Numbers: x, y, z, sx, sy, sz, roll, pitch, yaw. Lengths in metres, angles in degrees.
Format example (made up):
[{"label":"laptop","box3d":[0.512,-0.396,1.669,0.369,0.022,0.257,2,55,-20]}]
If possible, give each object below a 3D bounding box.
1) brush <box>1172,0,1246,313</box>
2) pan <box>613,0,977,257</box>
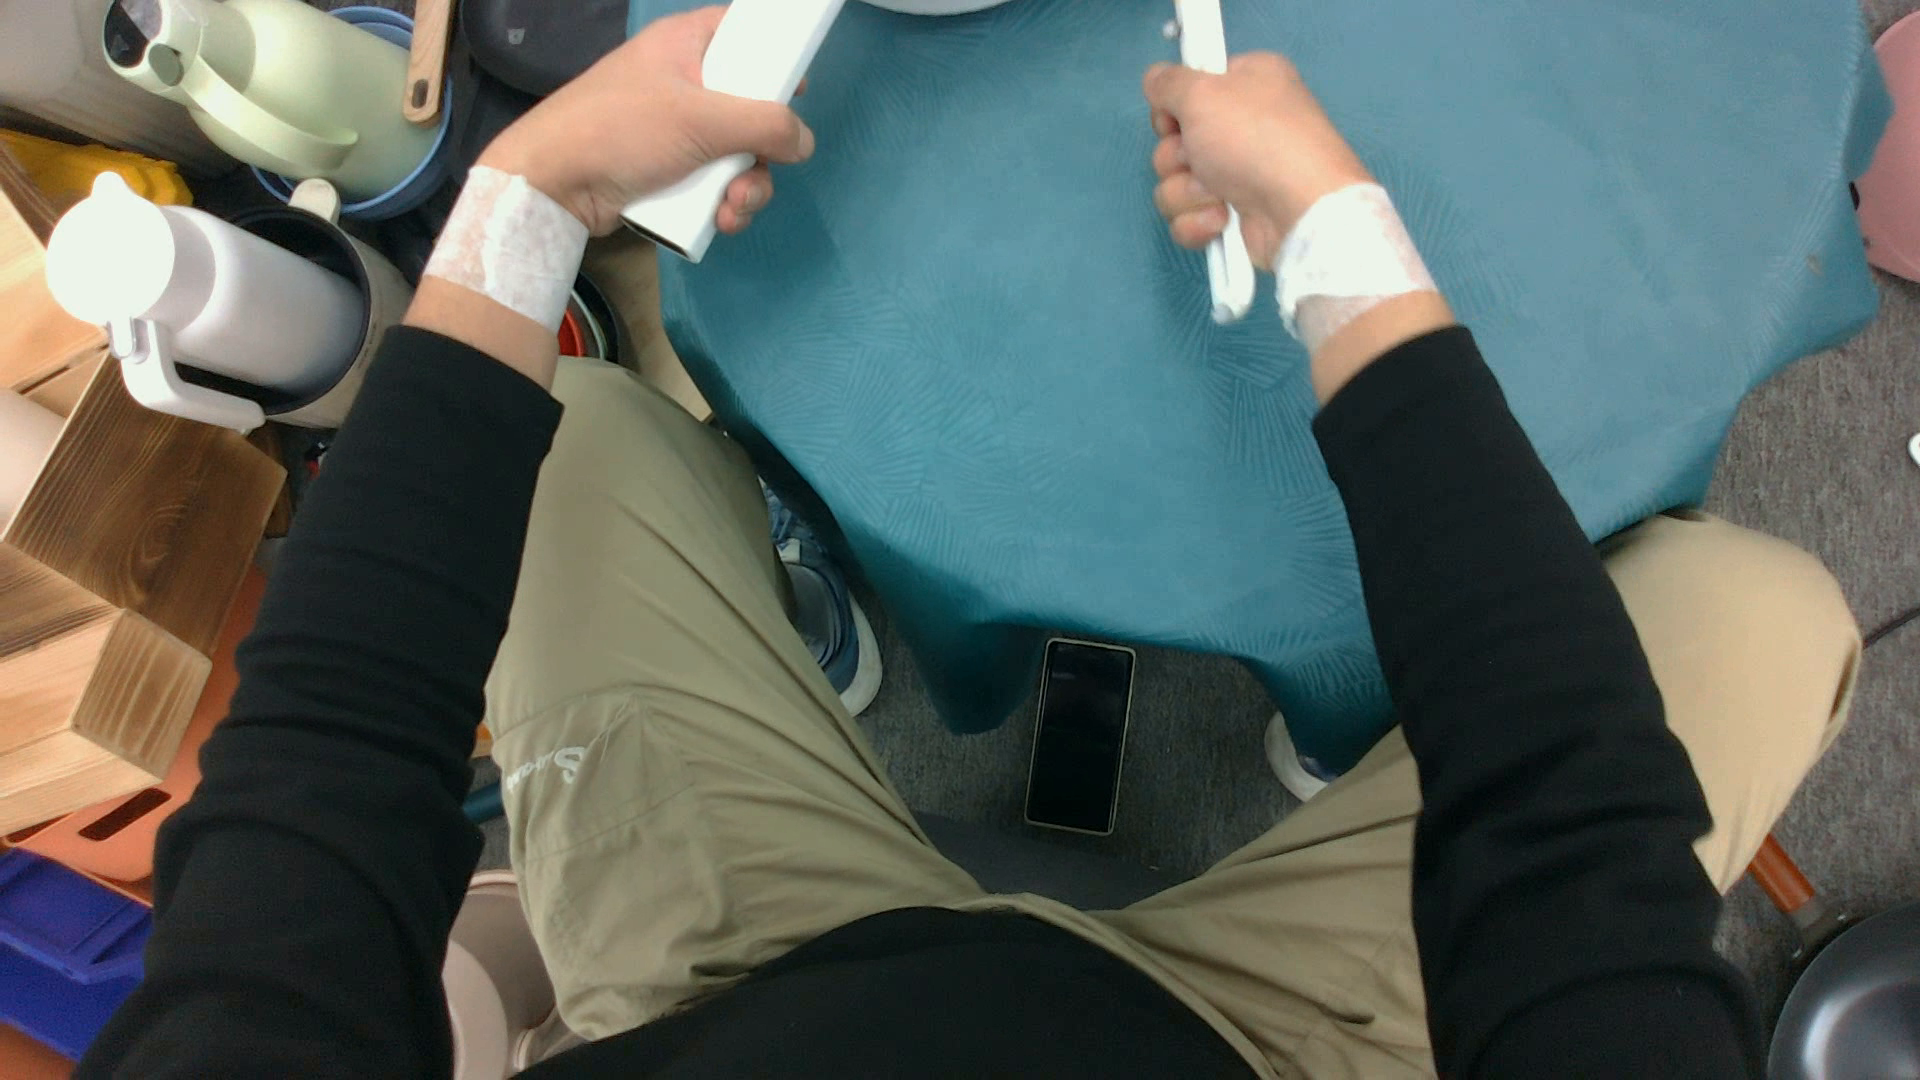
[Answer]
[{"label":"brush","box3d":[0.095,-0.230,0.614,0.056,0.068,0.267,4,76,-13]},{"label":"pan","box3d":[-0.054,-0.293,0.659,0.201,0.102,0.355,27,90,3]}]
